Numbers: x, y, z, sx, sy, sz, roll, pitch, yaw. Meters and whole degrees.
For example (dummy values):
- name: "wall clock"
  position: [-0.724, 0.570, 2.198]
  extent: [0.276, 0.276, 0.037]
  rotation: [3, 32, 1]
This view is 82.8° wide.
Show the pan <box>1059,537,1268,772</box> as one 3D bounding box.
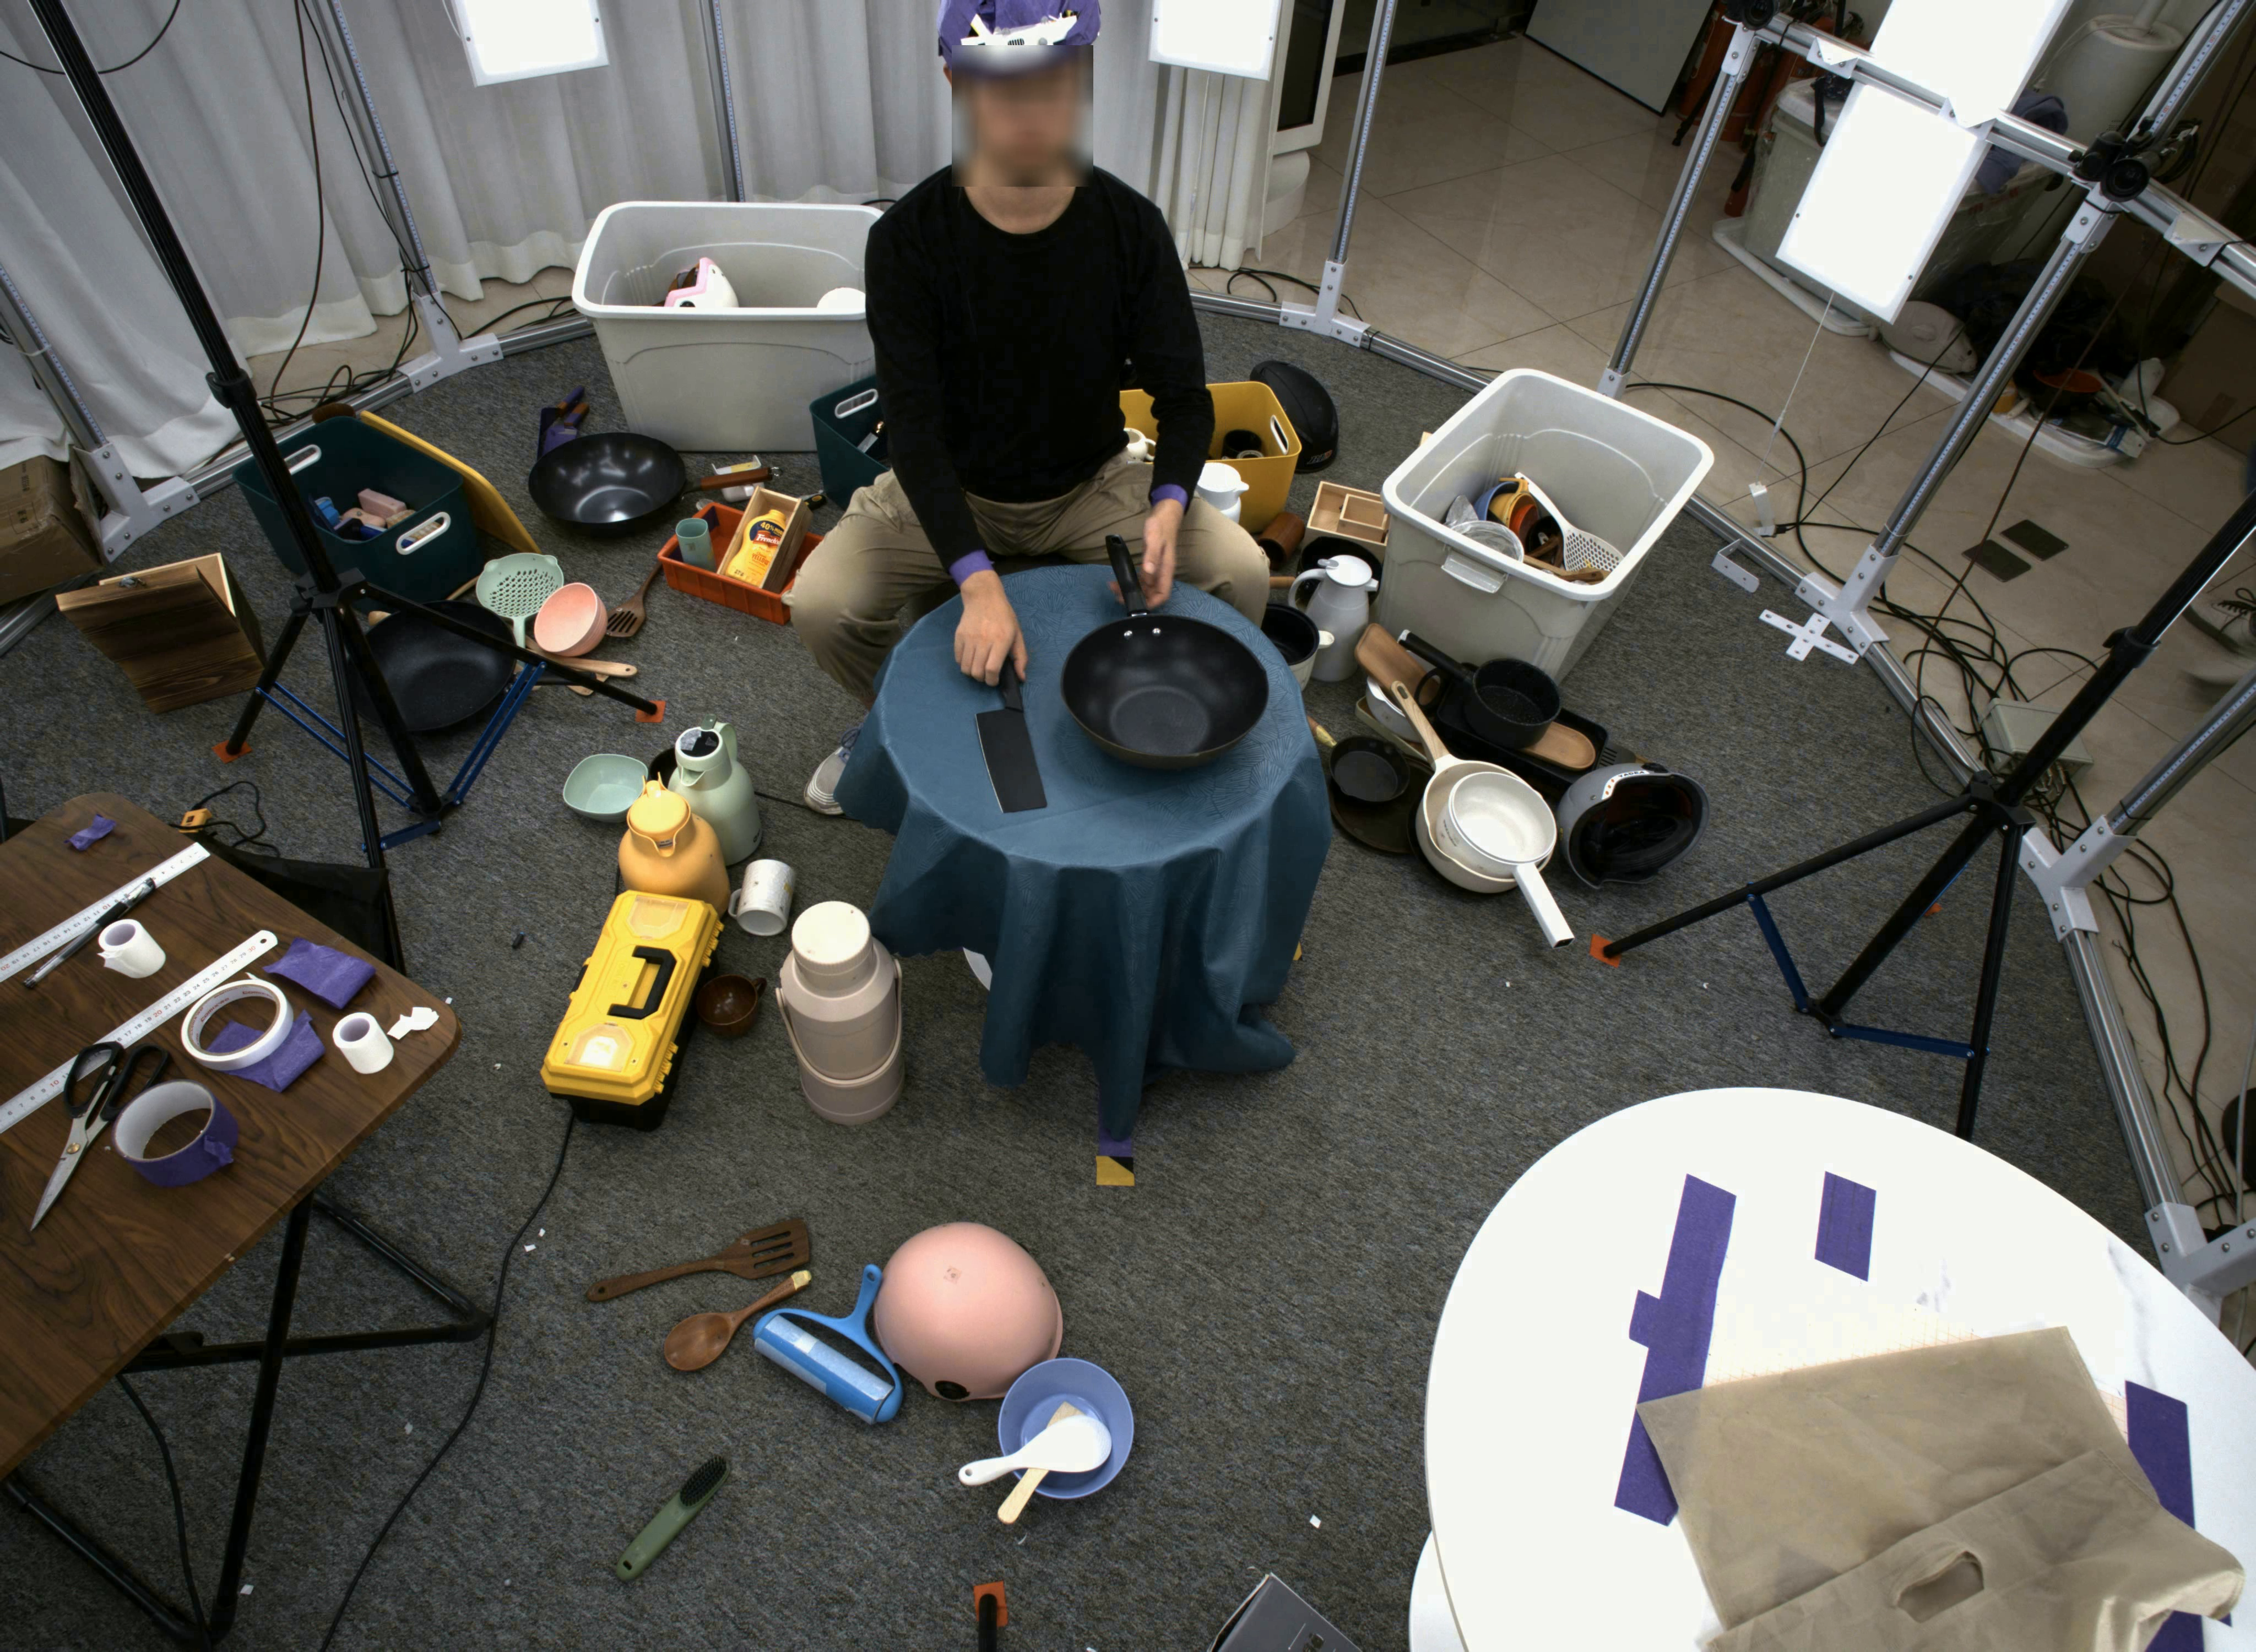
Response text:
- name: "pan"
  position: [0.028, -0.238, 1.824]
  extent: [0.288, 0.085, 0.475]
  rotation: [-7, 50, -10]

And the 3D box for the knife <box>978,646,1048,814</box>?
- name: "knife"
  position: [-0.166, -0.137, 1.770]
  extent: [0.081, 0.020, 0.310]
  rotation: [-5, 52, -8]
